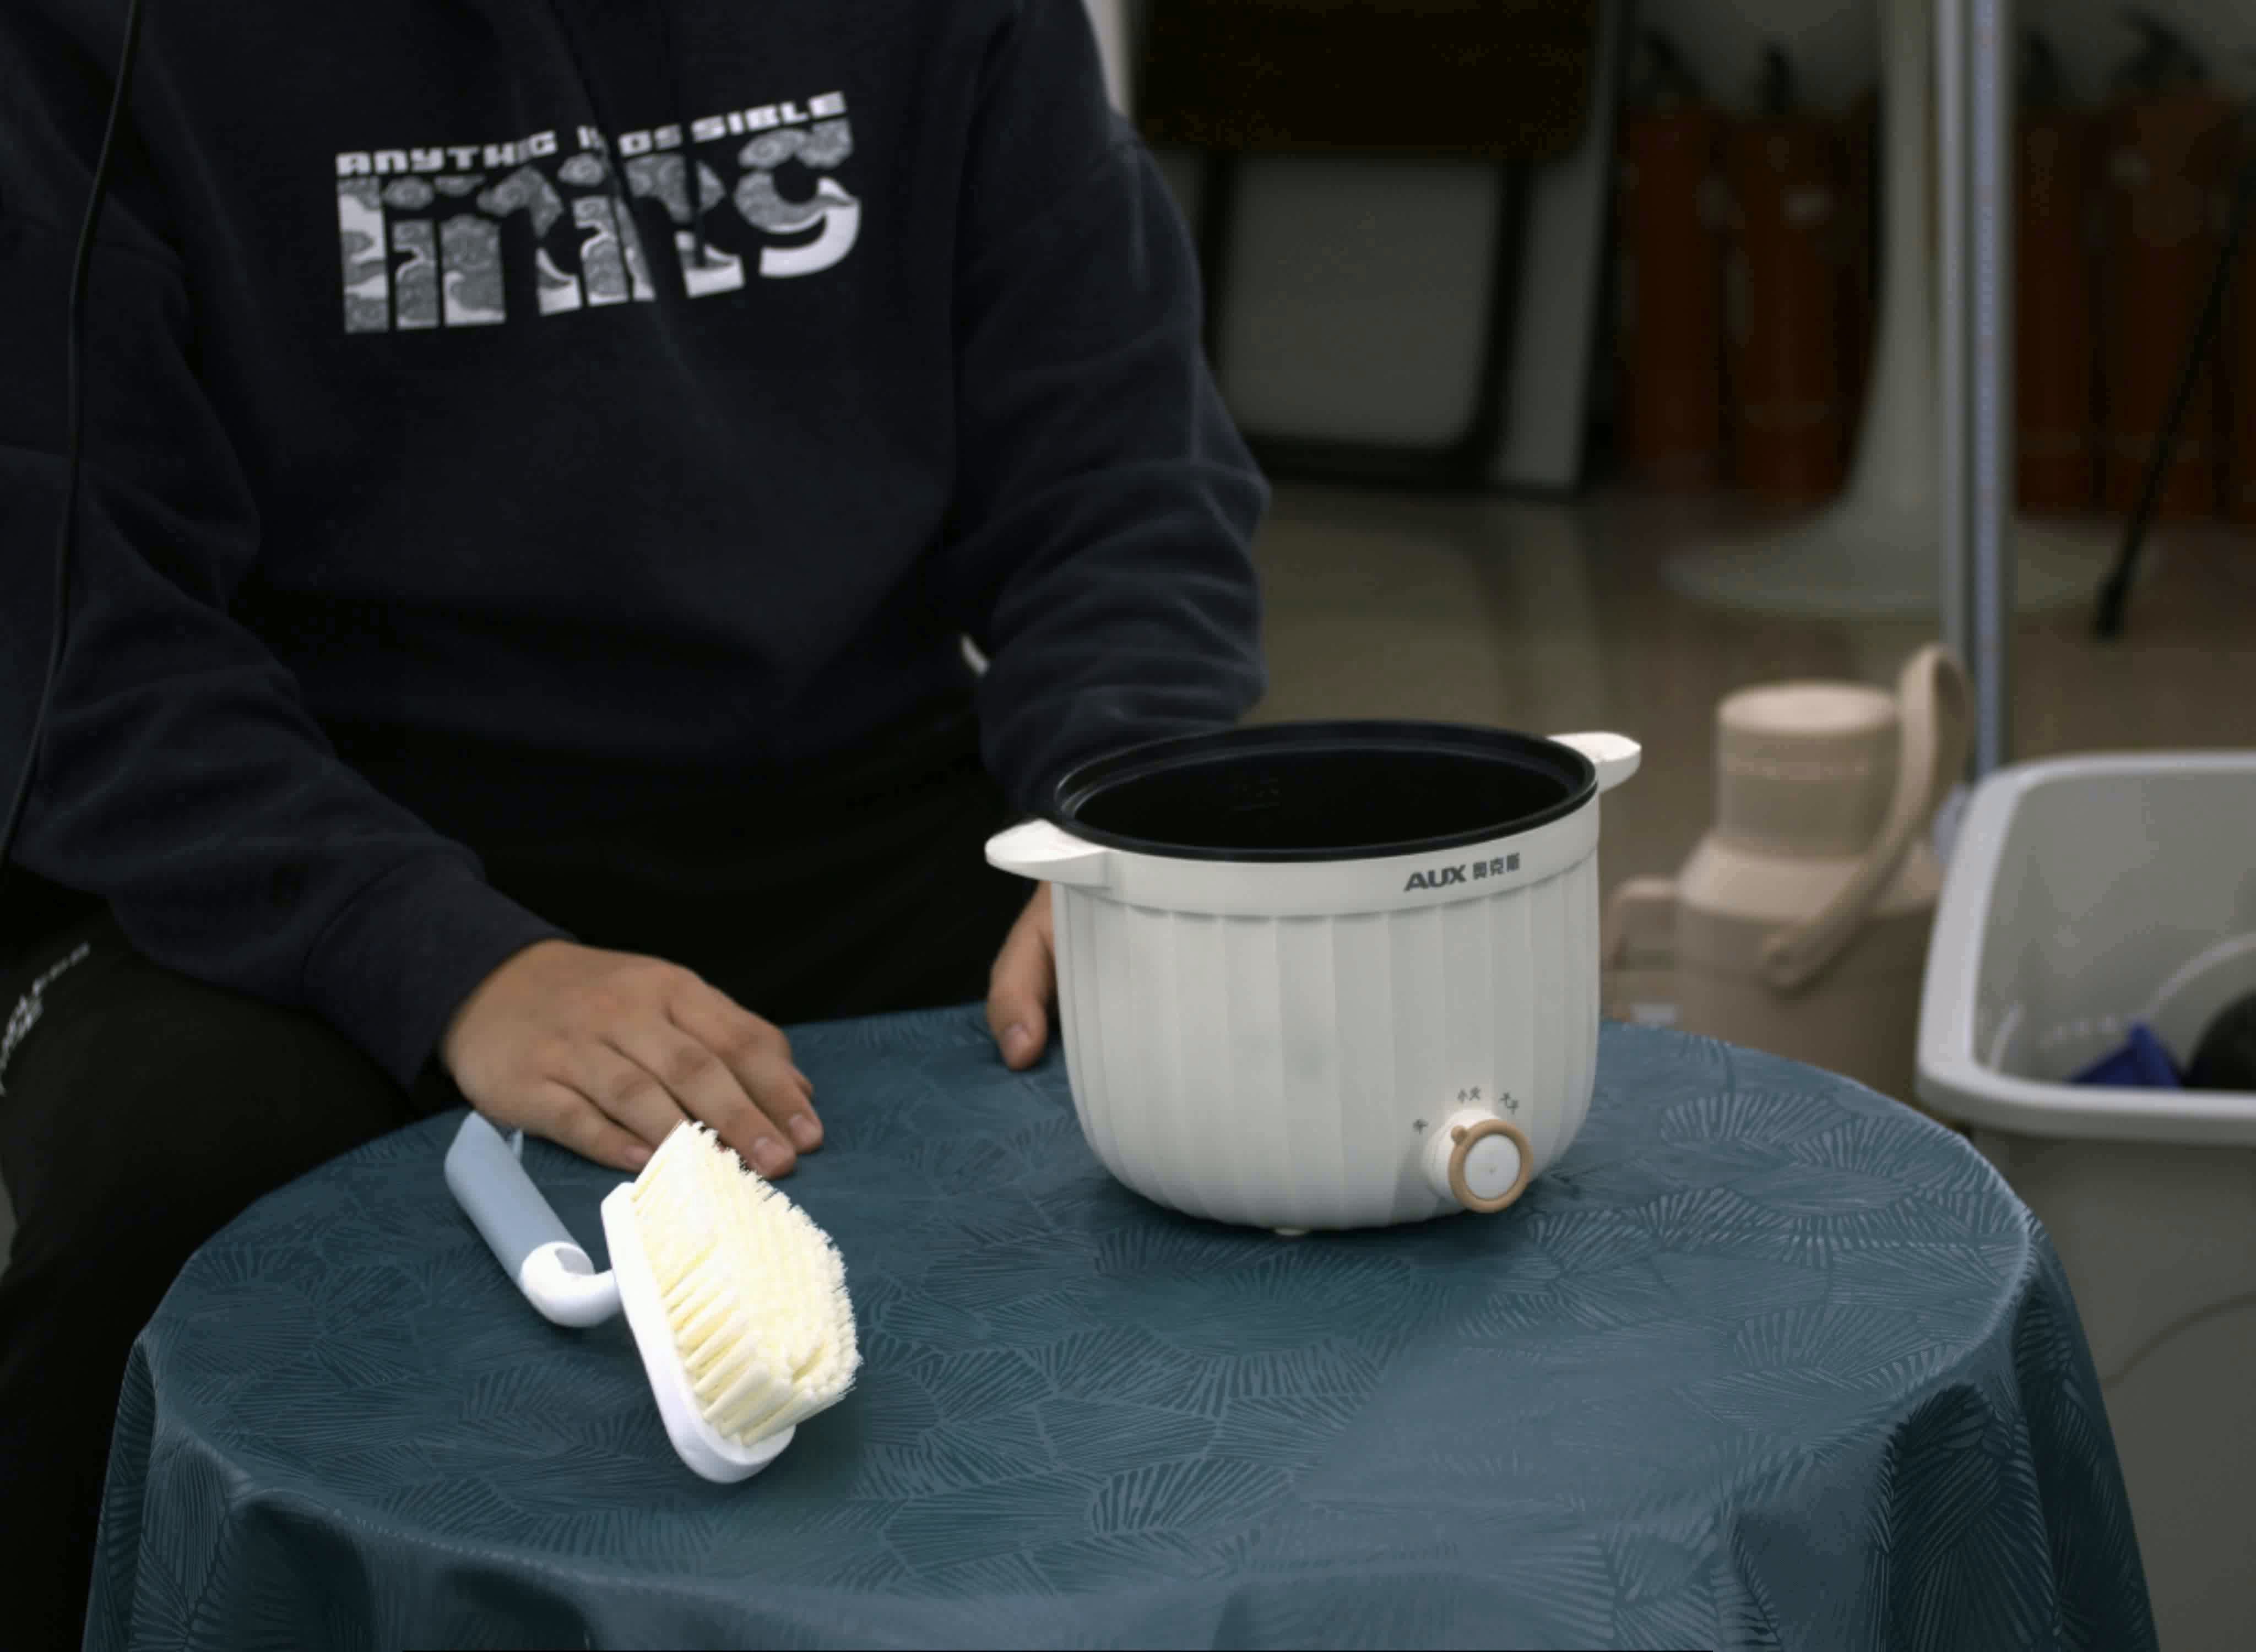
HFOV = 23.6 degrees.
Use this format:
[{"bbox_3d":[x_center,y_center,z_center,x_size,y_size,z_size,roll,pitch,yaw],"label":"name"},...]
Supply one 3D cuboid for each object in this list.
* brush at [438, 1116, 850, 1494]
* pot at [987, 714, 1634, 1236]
[{"bbox_3d":[-0.149,0.116,1.663,0.083,0.084,0.328,-13,17,-15],"label":"brush"},{"bbox_3d":[0.069,0.050,1.753,0.235,0.144,0.192,-11,12,-25],"label":"pot"}]
